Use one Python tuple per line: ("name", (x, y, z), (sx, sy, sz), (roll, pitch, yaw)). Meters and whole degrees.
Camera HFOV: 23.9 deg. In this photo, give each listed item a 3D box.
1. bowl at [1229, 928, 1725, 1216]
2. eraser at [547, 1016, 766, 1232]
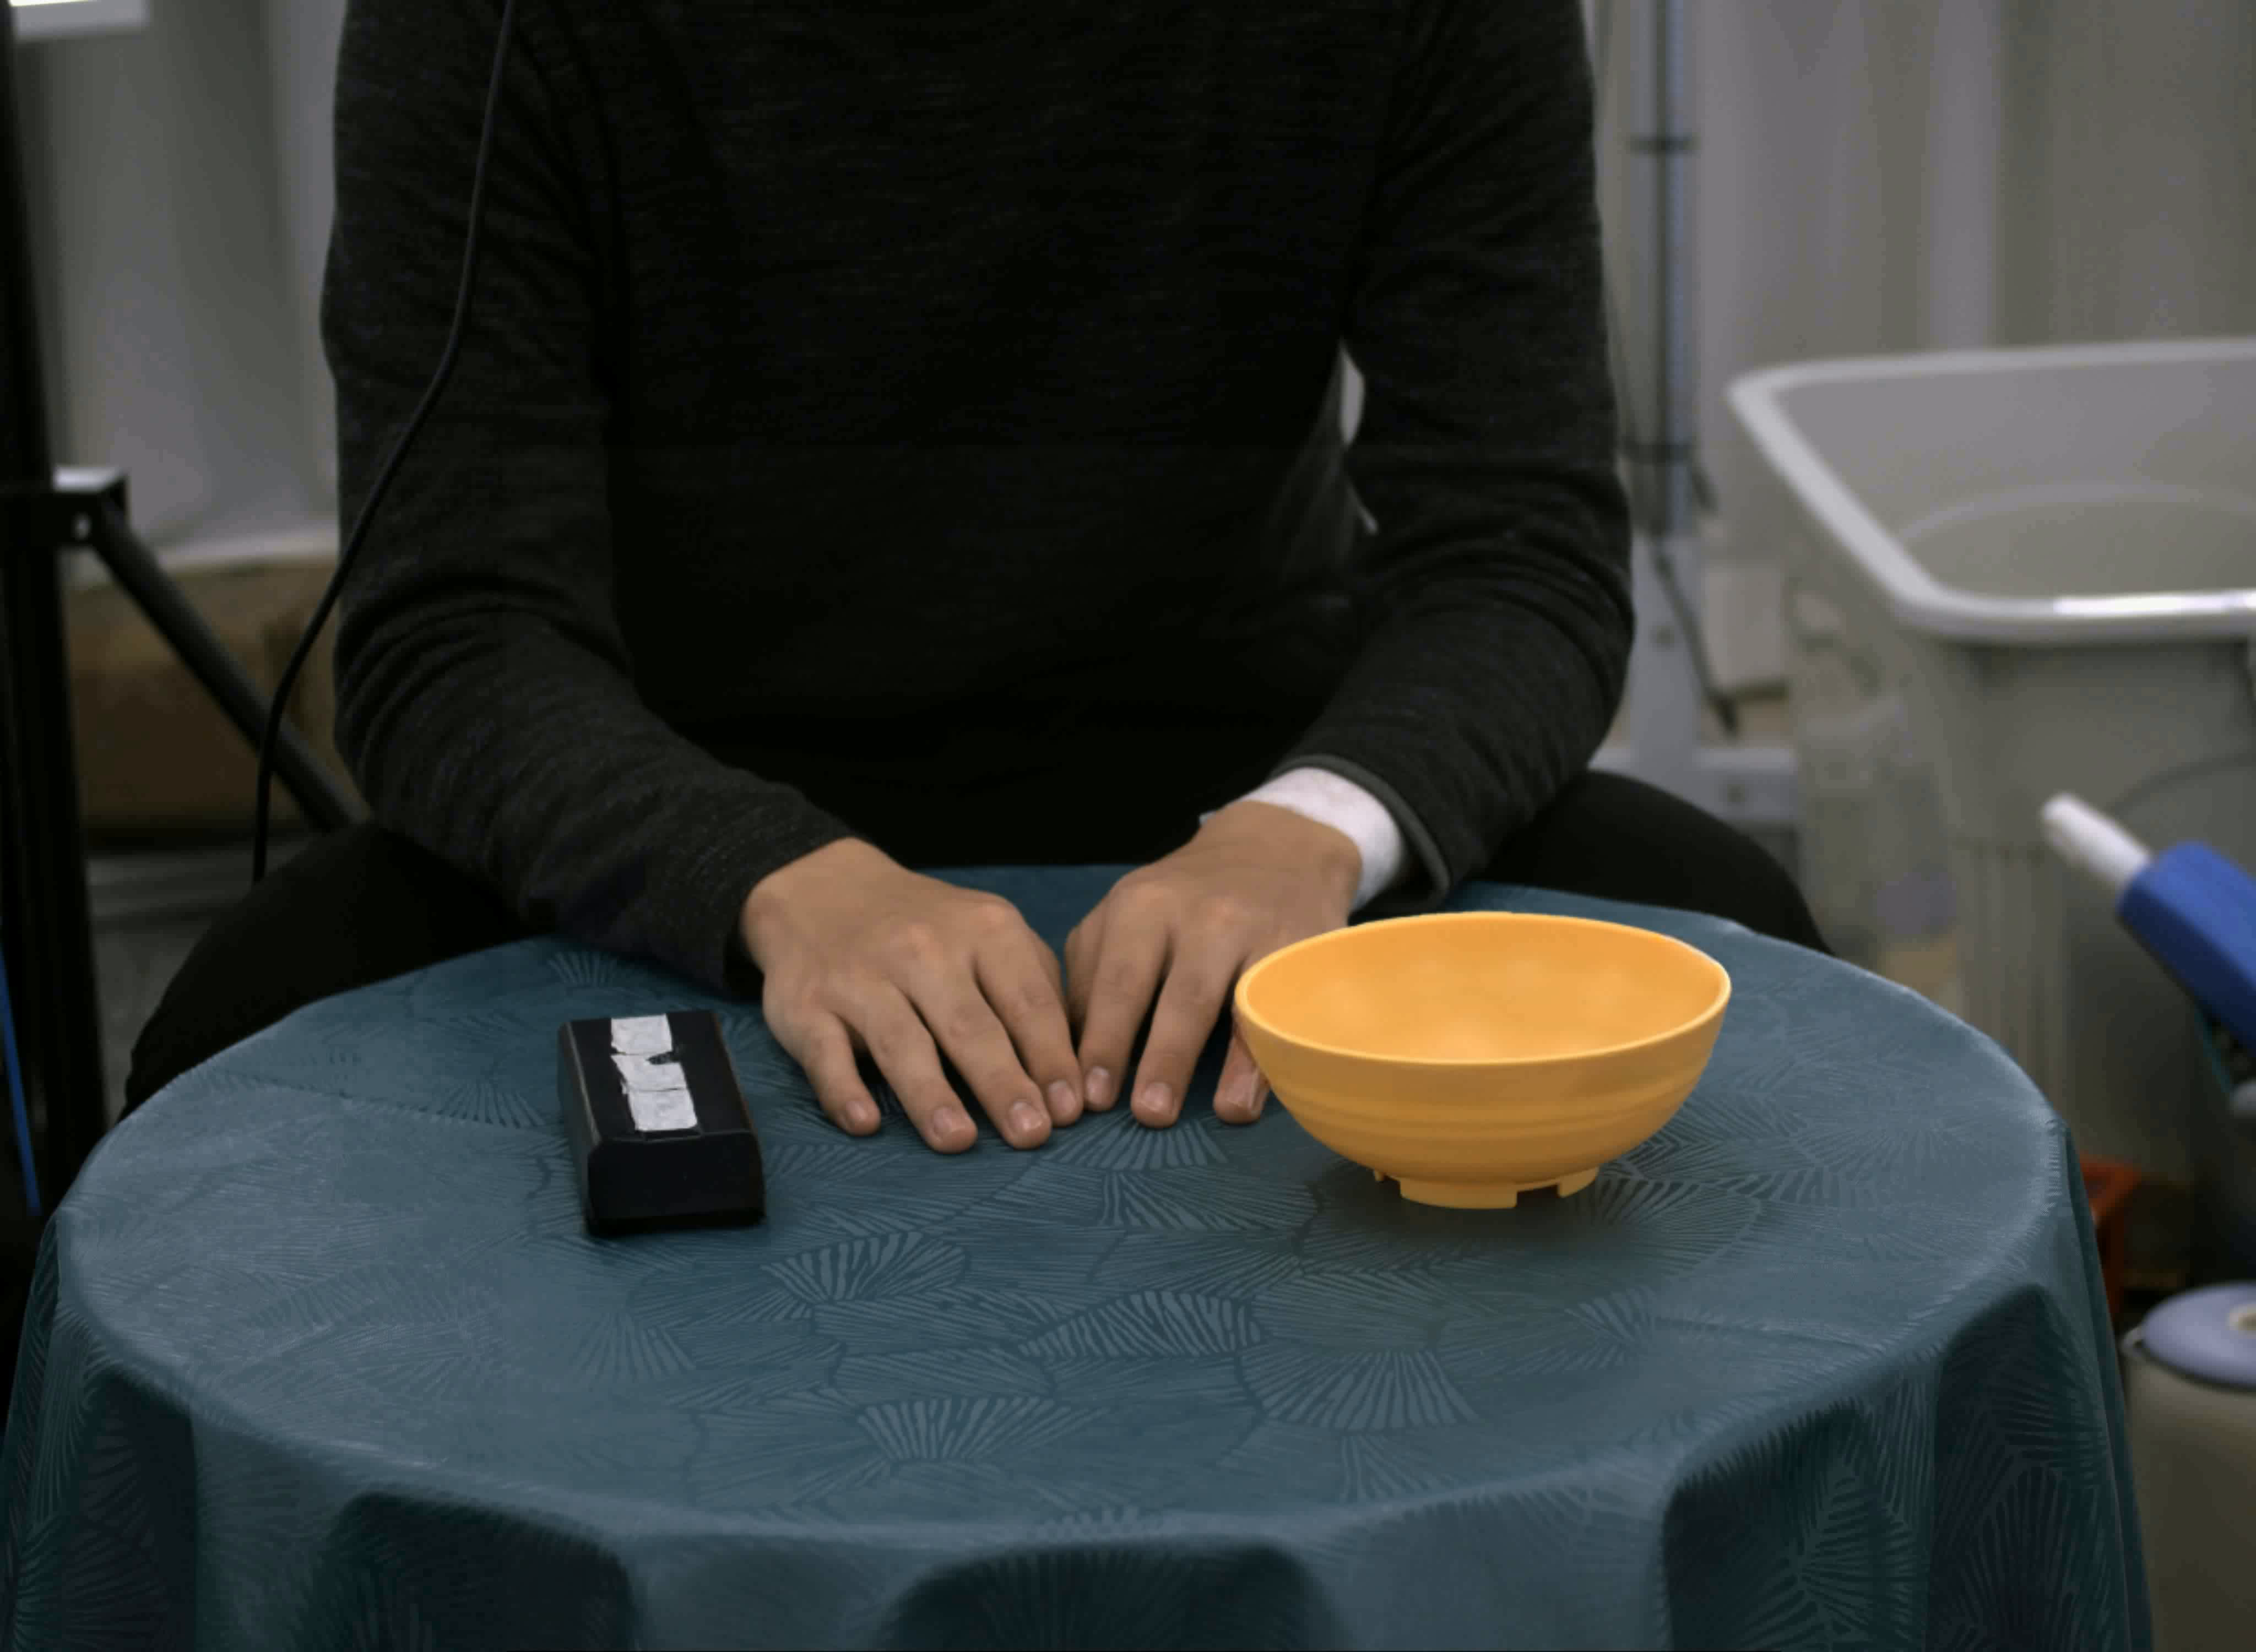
("bowl", (0.102, 0.076, 1.551), (0.144, 0.060, 0.146), (-1, 13, -1))
("eraser", (-0.142, 0.089, 1.597), (0.053, 0.030, 0.127), (-2, 15, -11))
